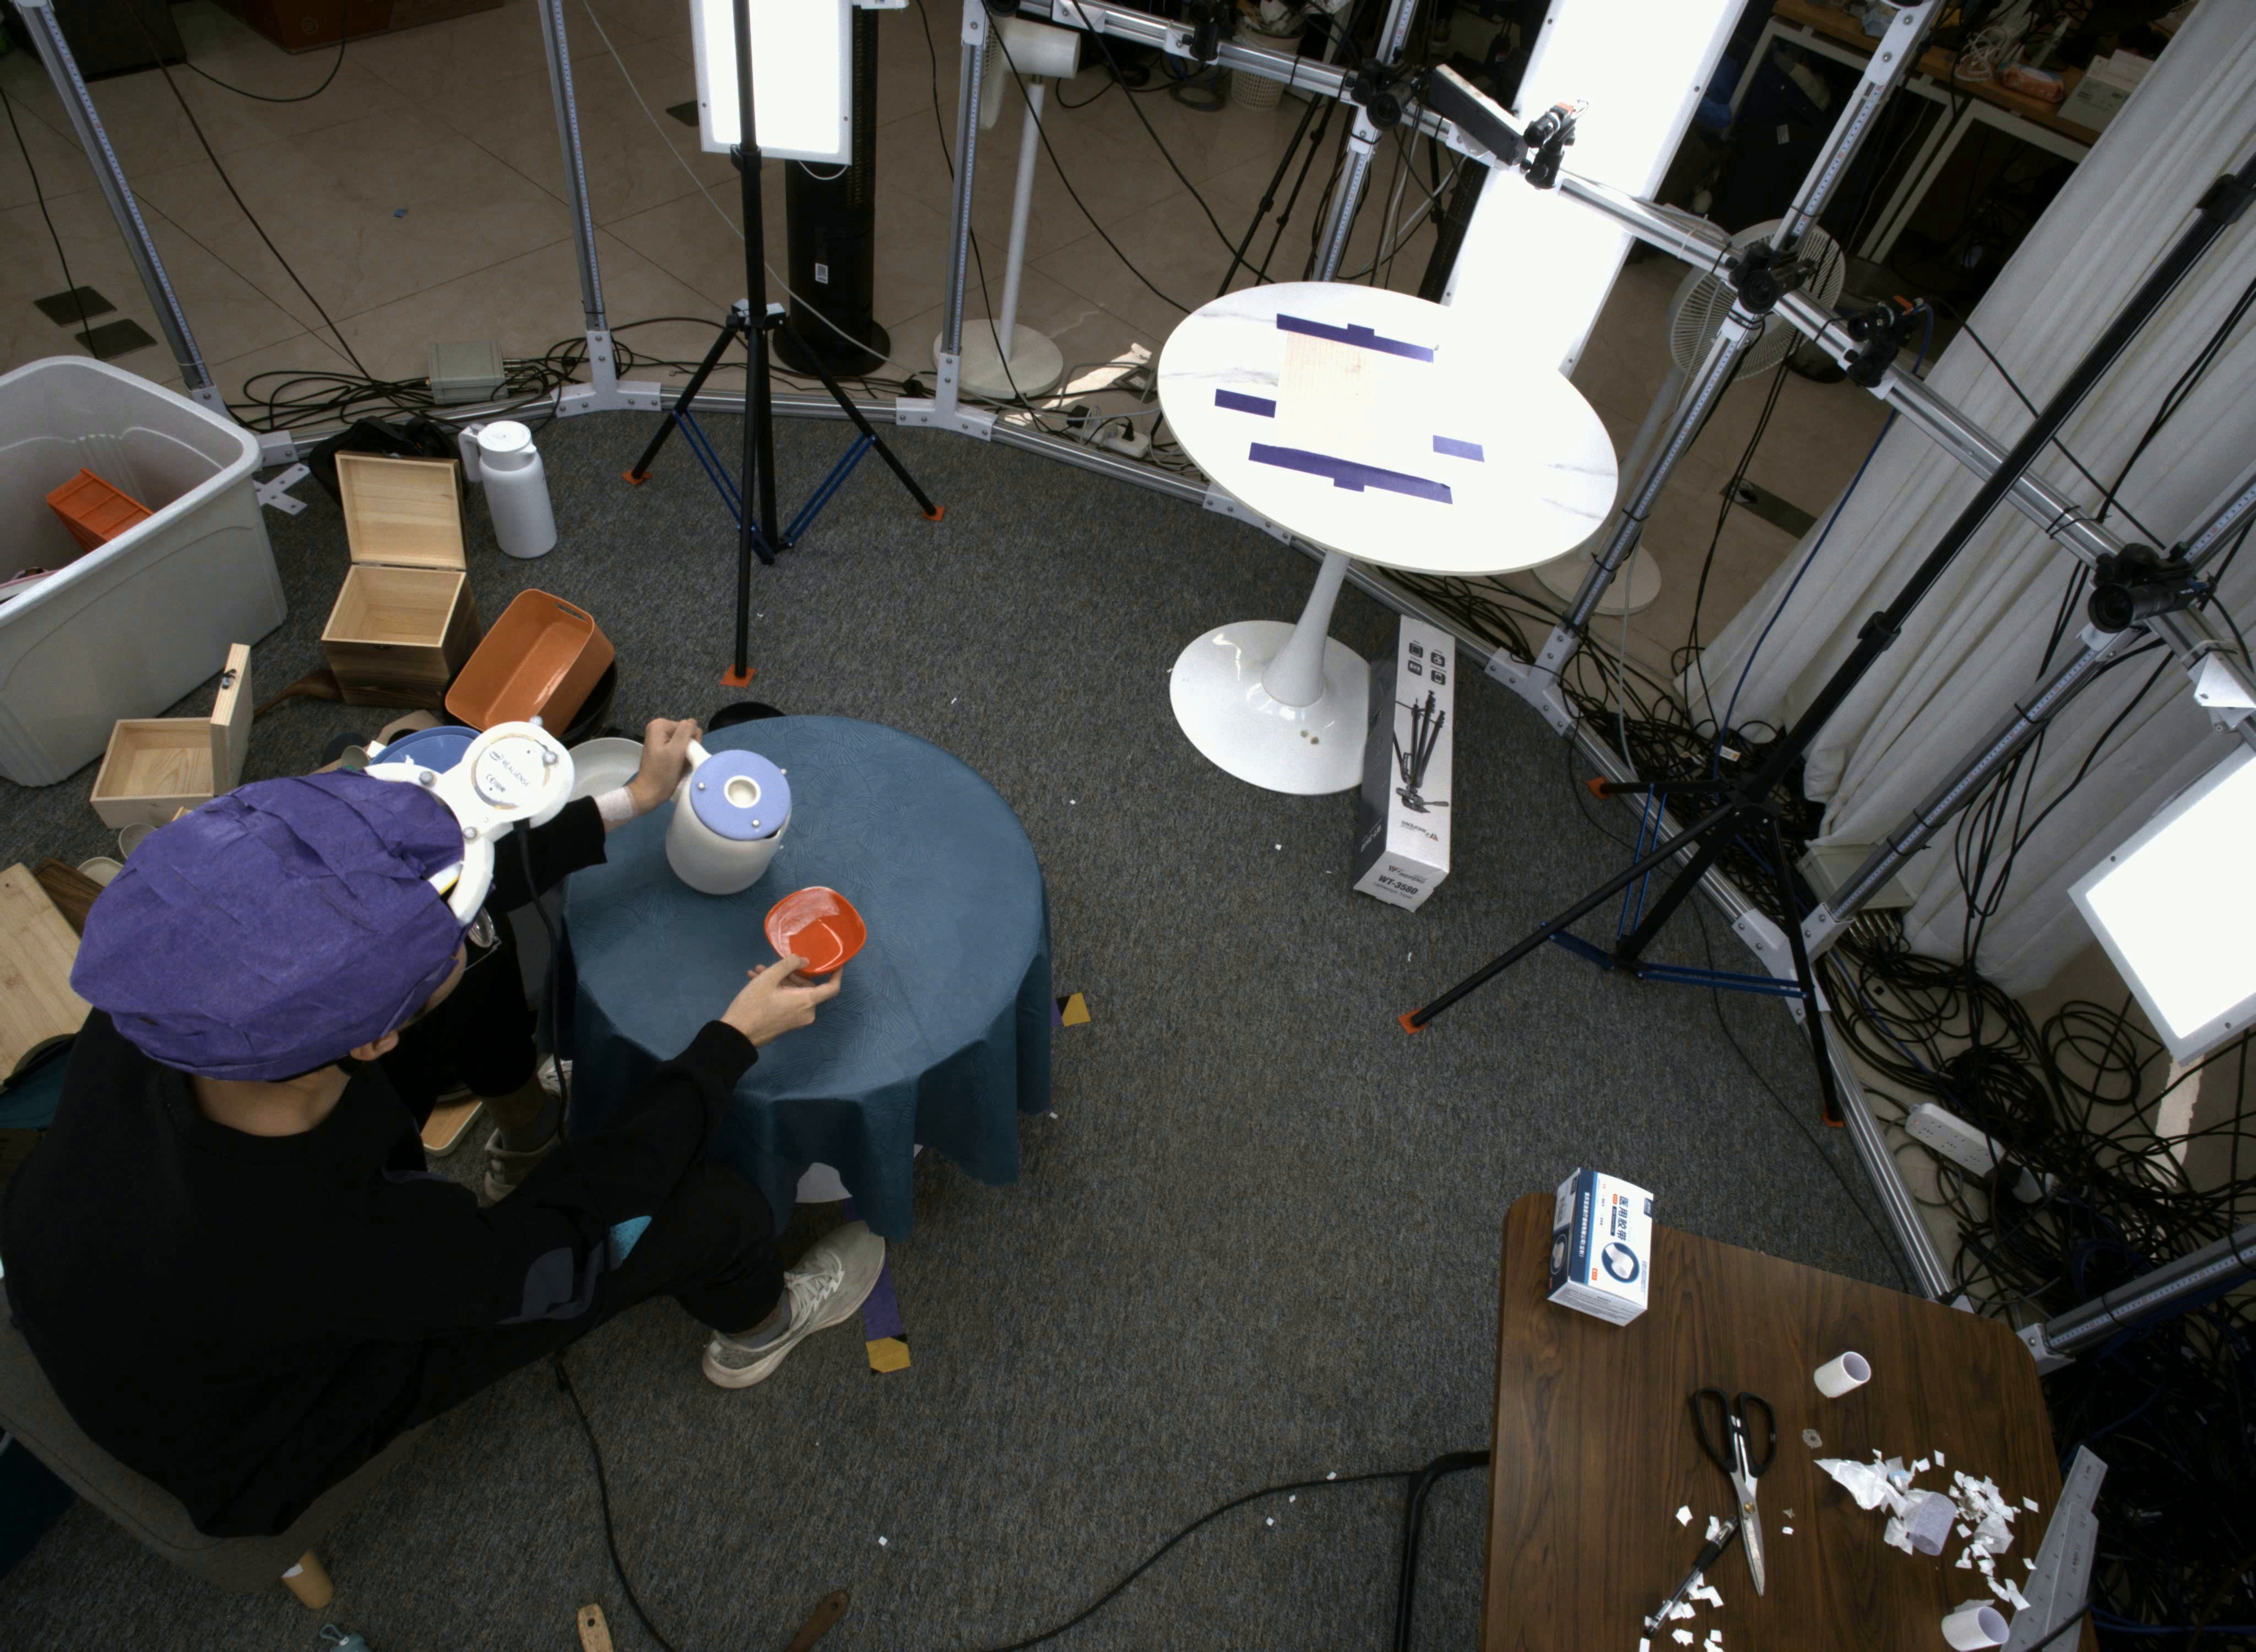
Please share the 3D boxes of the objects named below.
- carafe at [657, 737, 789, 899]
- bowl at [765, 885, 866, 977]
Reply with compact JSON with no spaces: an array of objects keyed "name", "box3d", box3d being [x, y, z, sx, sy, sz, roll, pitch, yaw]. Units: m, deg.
[{"name":"carafe","box3d":[-0.509,-0.022,1.587,0.191,0.183,0.132,45,52,3]},{"name":"bowl","box3d":[-0.375,0.132,1.544,0.120,0.052,0.117,14,51,-16]}]
